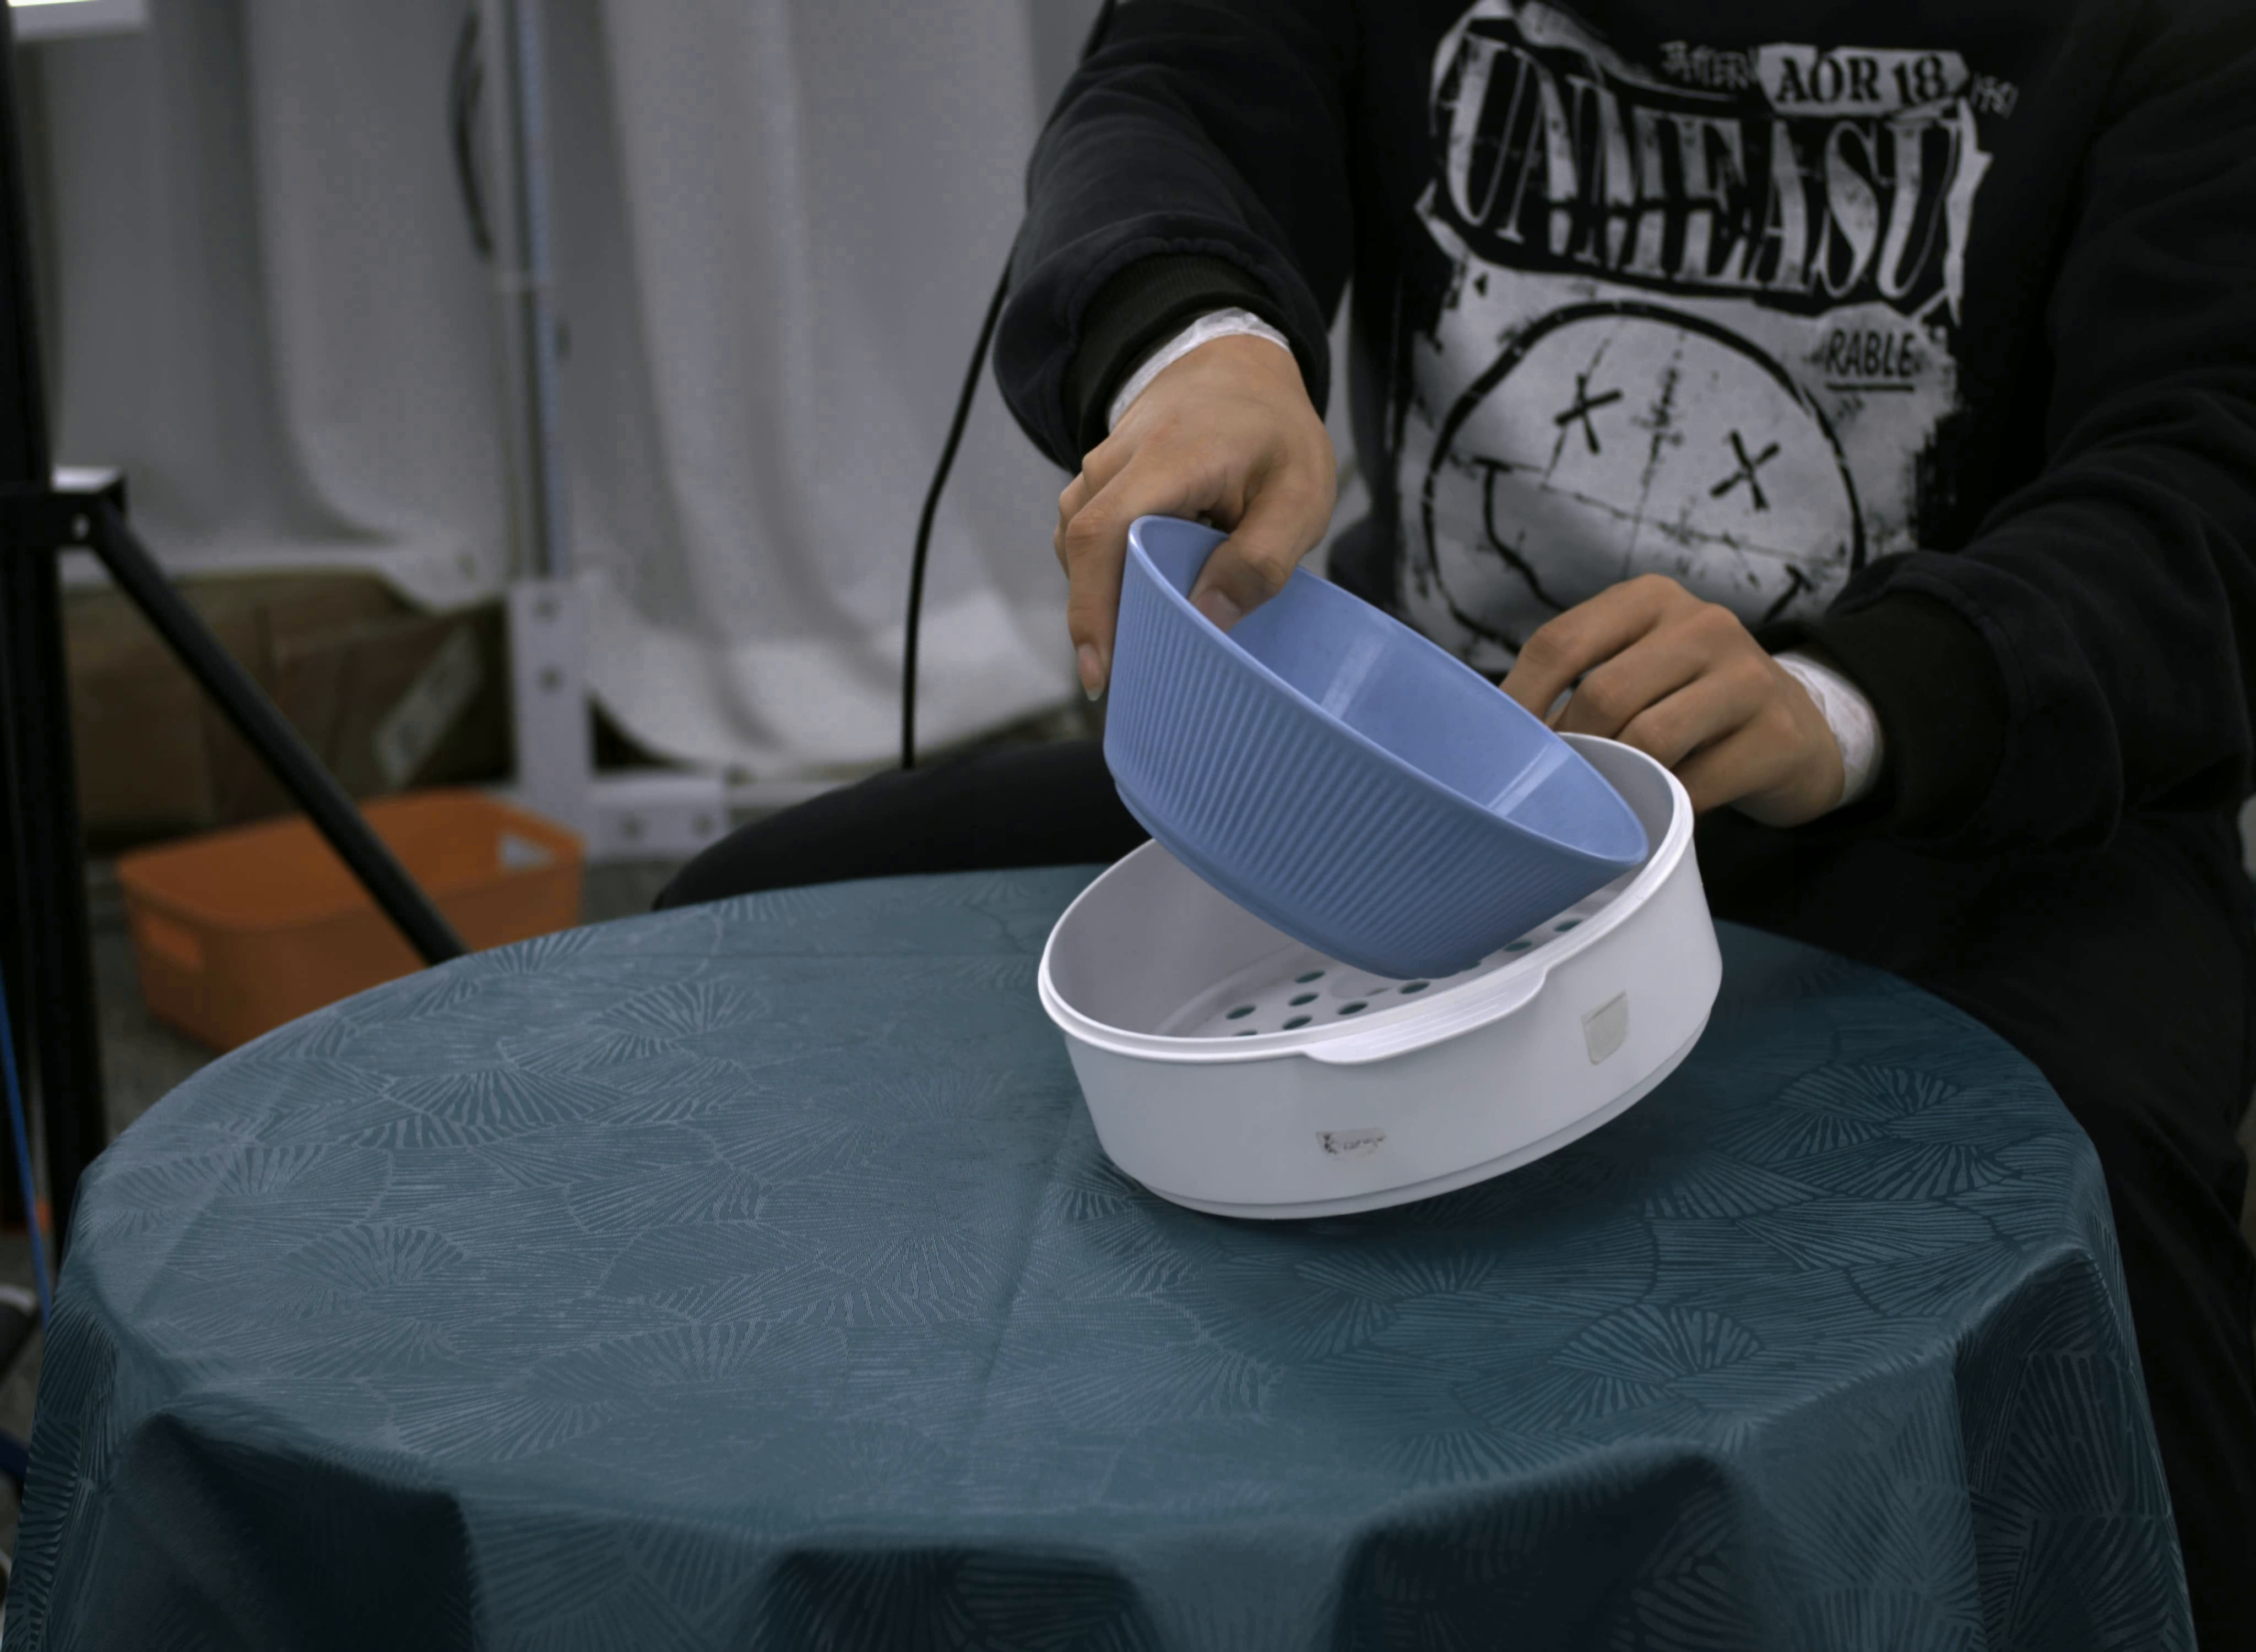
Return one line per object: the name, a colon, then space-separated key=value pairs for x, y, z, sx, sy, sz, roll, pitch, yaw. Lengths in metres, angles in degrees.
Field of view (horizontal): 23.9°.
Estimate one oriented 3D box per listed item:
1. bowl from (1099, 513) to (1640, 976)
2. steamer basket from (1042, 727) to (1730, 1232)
bowl: x=0.058 y=-0.015 z=1.533 sx=0.174 sy=0.070 sz=0.177 roll=30 pitch=13 yaw=-10
steamer basket: x=0.079 y=0.046 z=1.569 sx=0.201 sy=0.069 sz=0.233 roll=-19 pitch=24 yaw=-1
